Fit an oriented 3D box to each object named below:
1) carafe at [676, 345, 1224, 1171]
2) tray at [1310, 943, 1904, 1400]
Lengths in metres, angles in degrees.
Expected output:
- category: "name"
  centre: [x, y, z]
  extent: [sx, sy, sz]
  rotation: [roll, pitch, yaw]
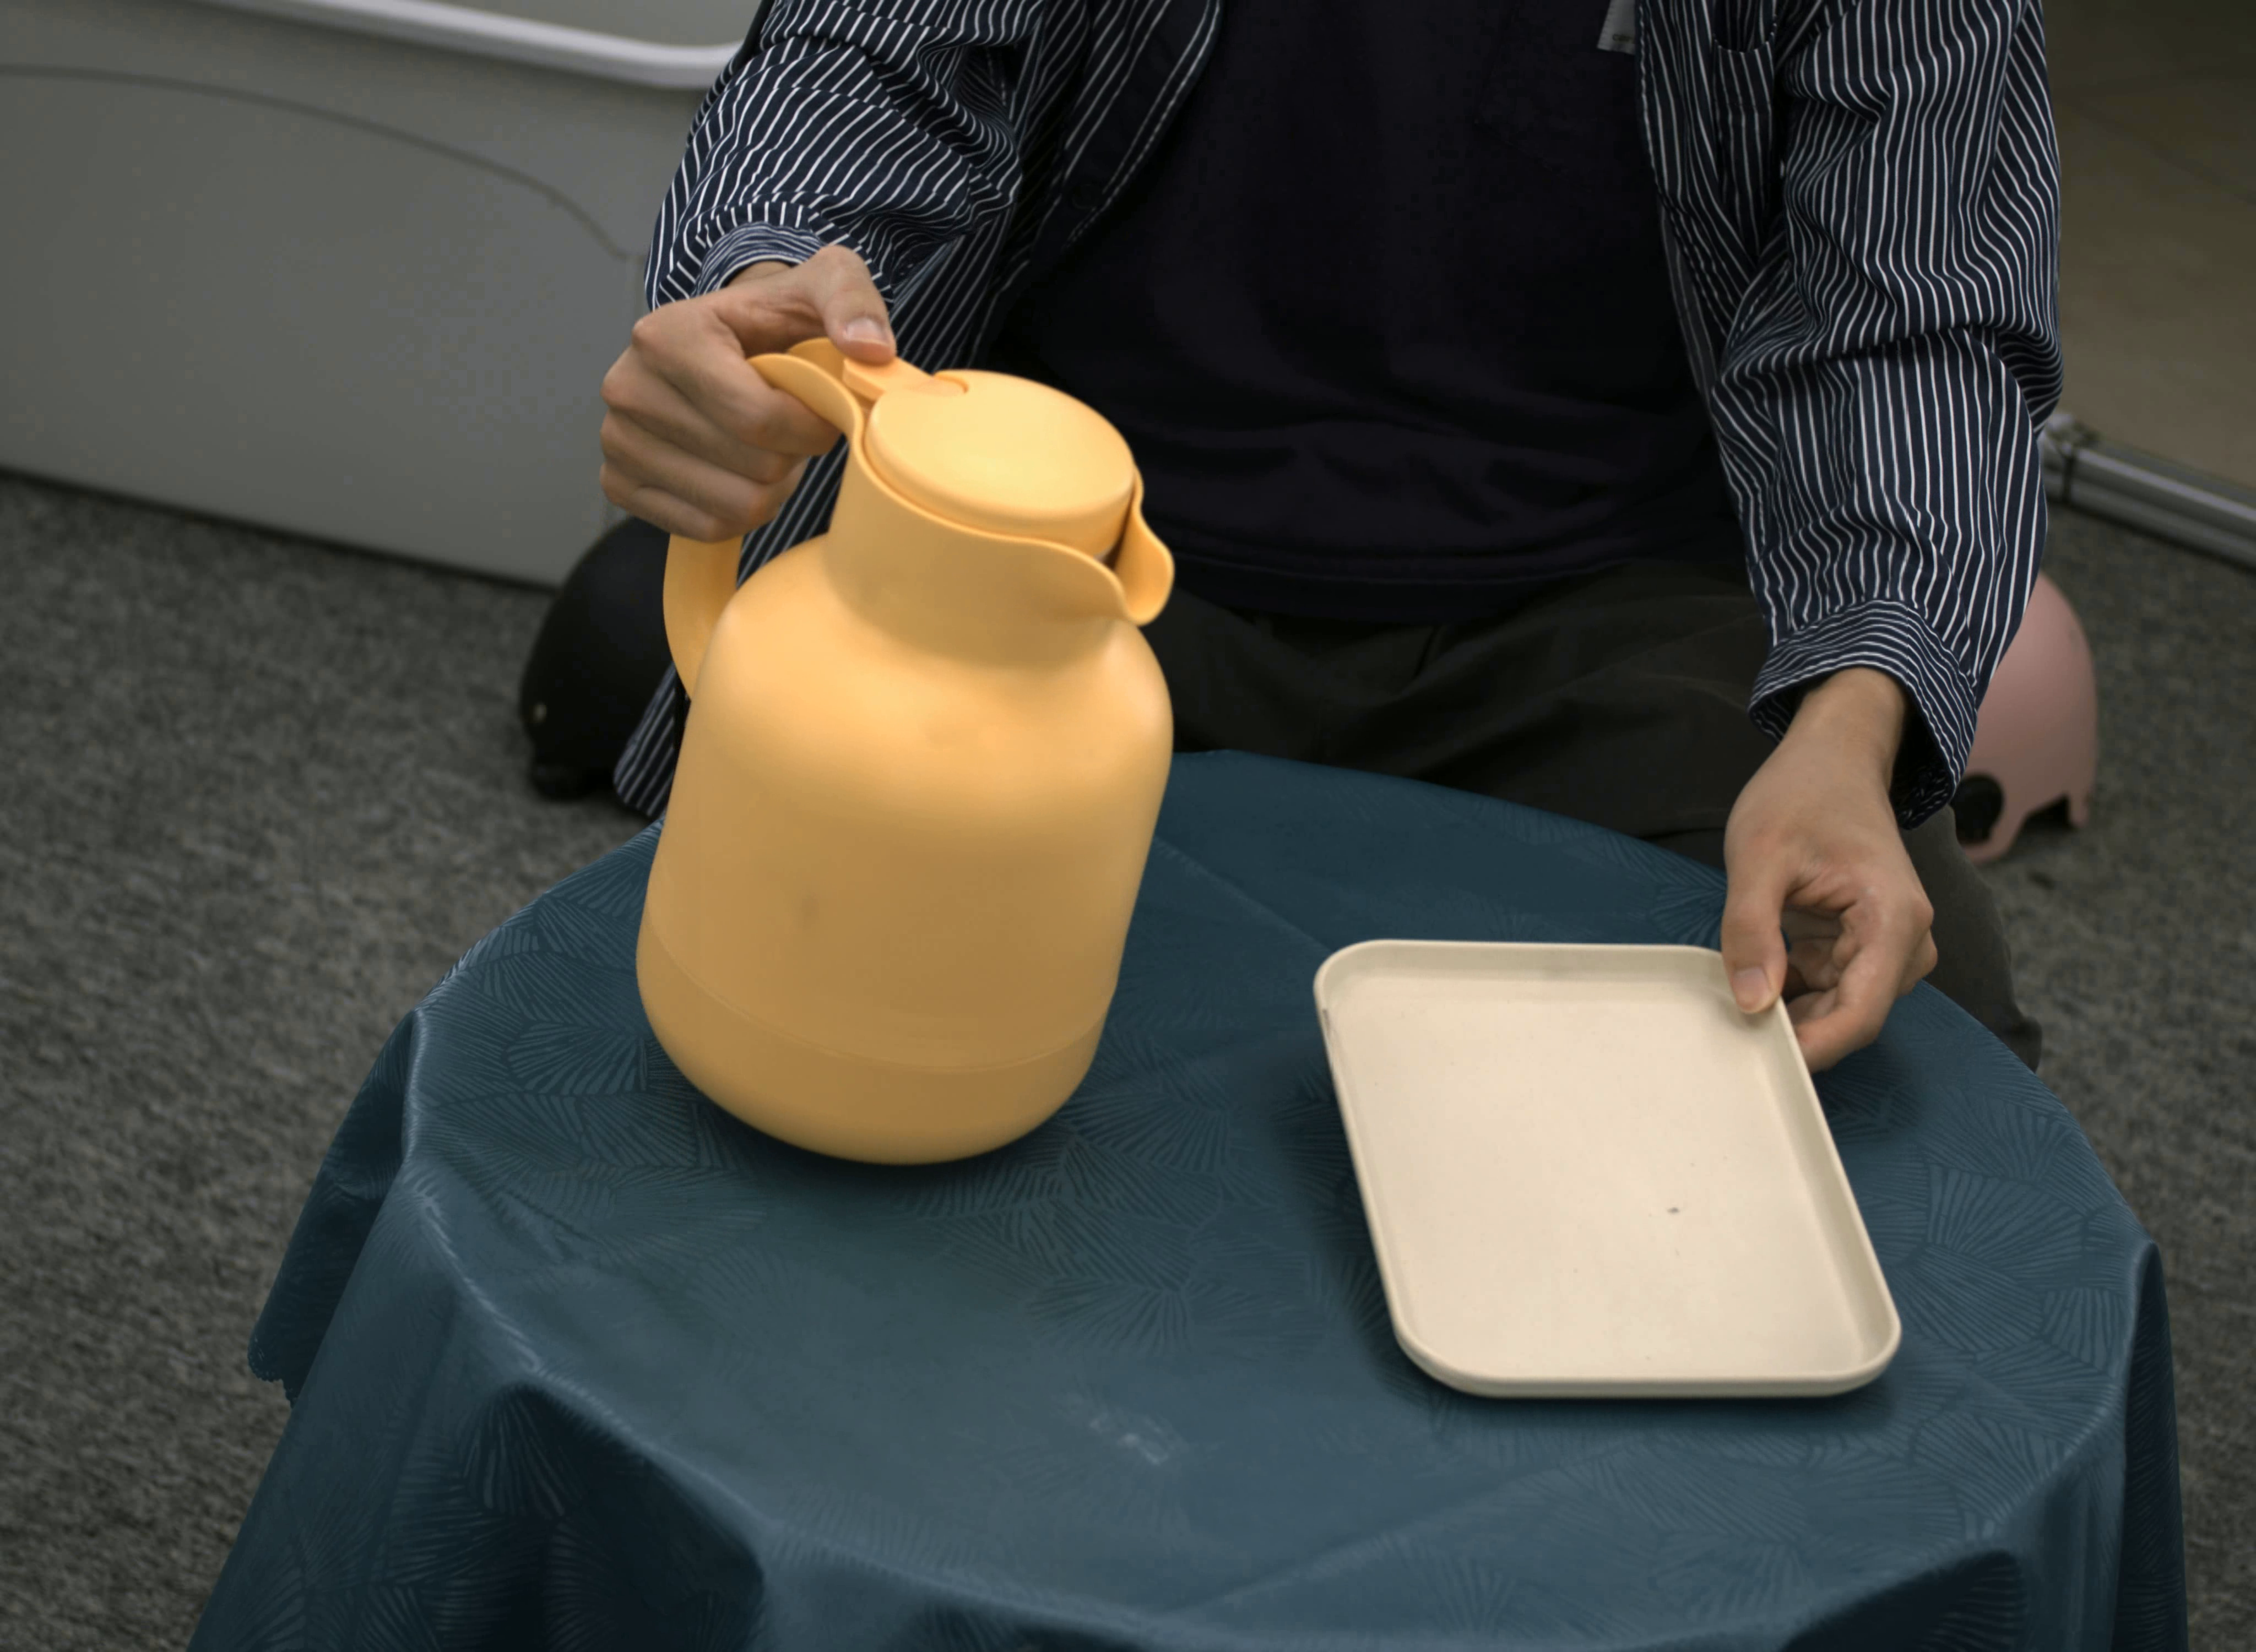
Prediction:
- category: "carafe"
  centre: [-0.067, -0.033, 1.789]
  extent: [0.204, 0.259, 0.163]
  rotation: [35, 36, 28]
- category: "tray"
  centre: [0.157, 0.116, 1.799]
  extent: [0.170, 0.017, 0.241]
  rotation: [1, 34, -9]
